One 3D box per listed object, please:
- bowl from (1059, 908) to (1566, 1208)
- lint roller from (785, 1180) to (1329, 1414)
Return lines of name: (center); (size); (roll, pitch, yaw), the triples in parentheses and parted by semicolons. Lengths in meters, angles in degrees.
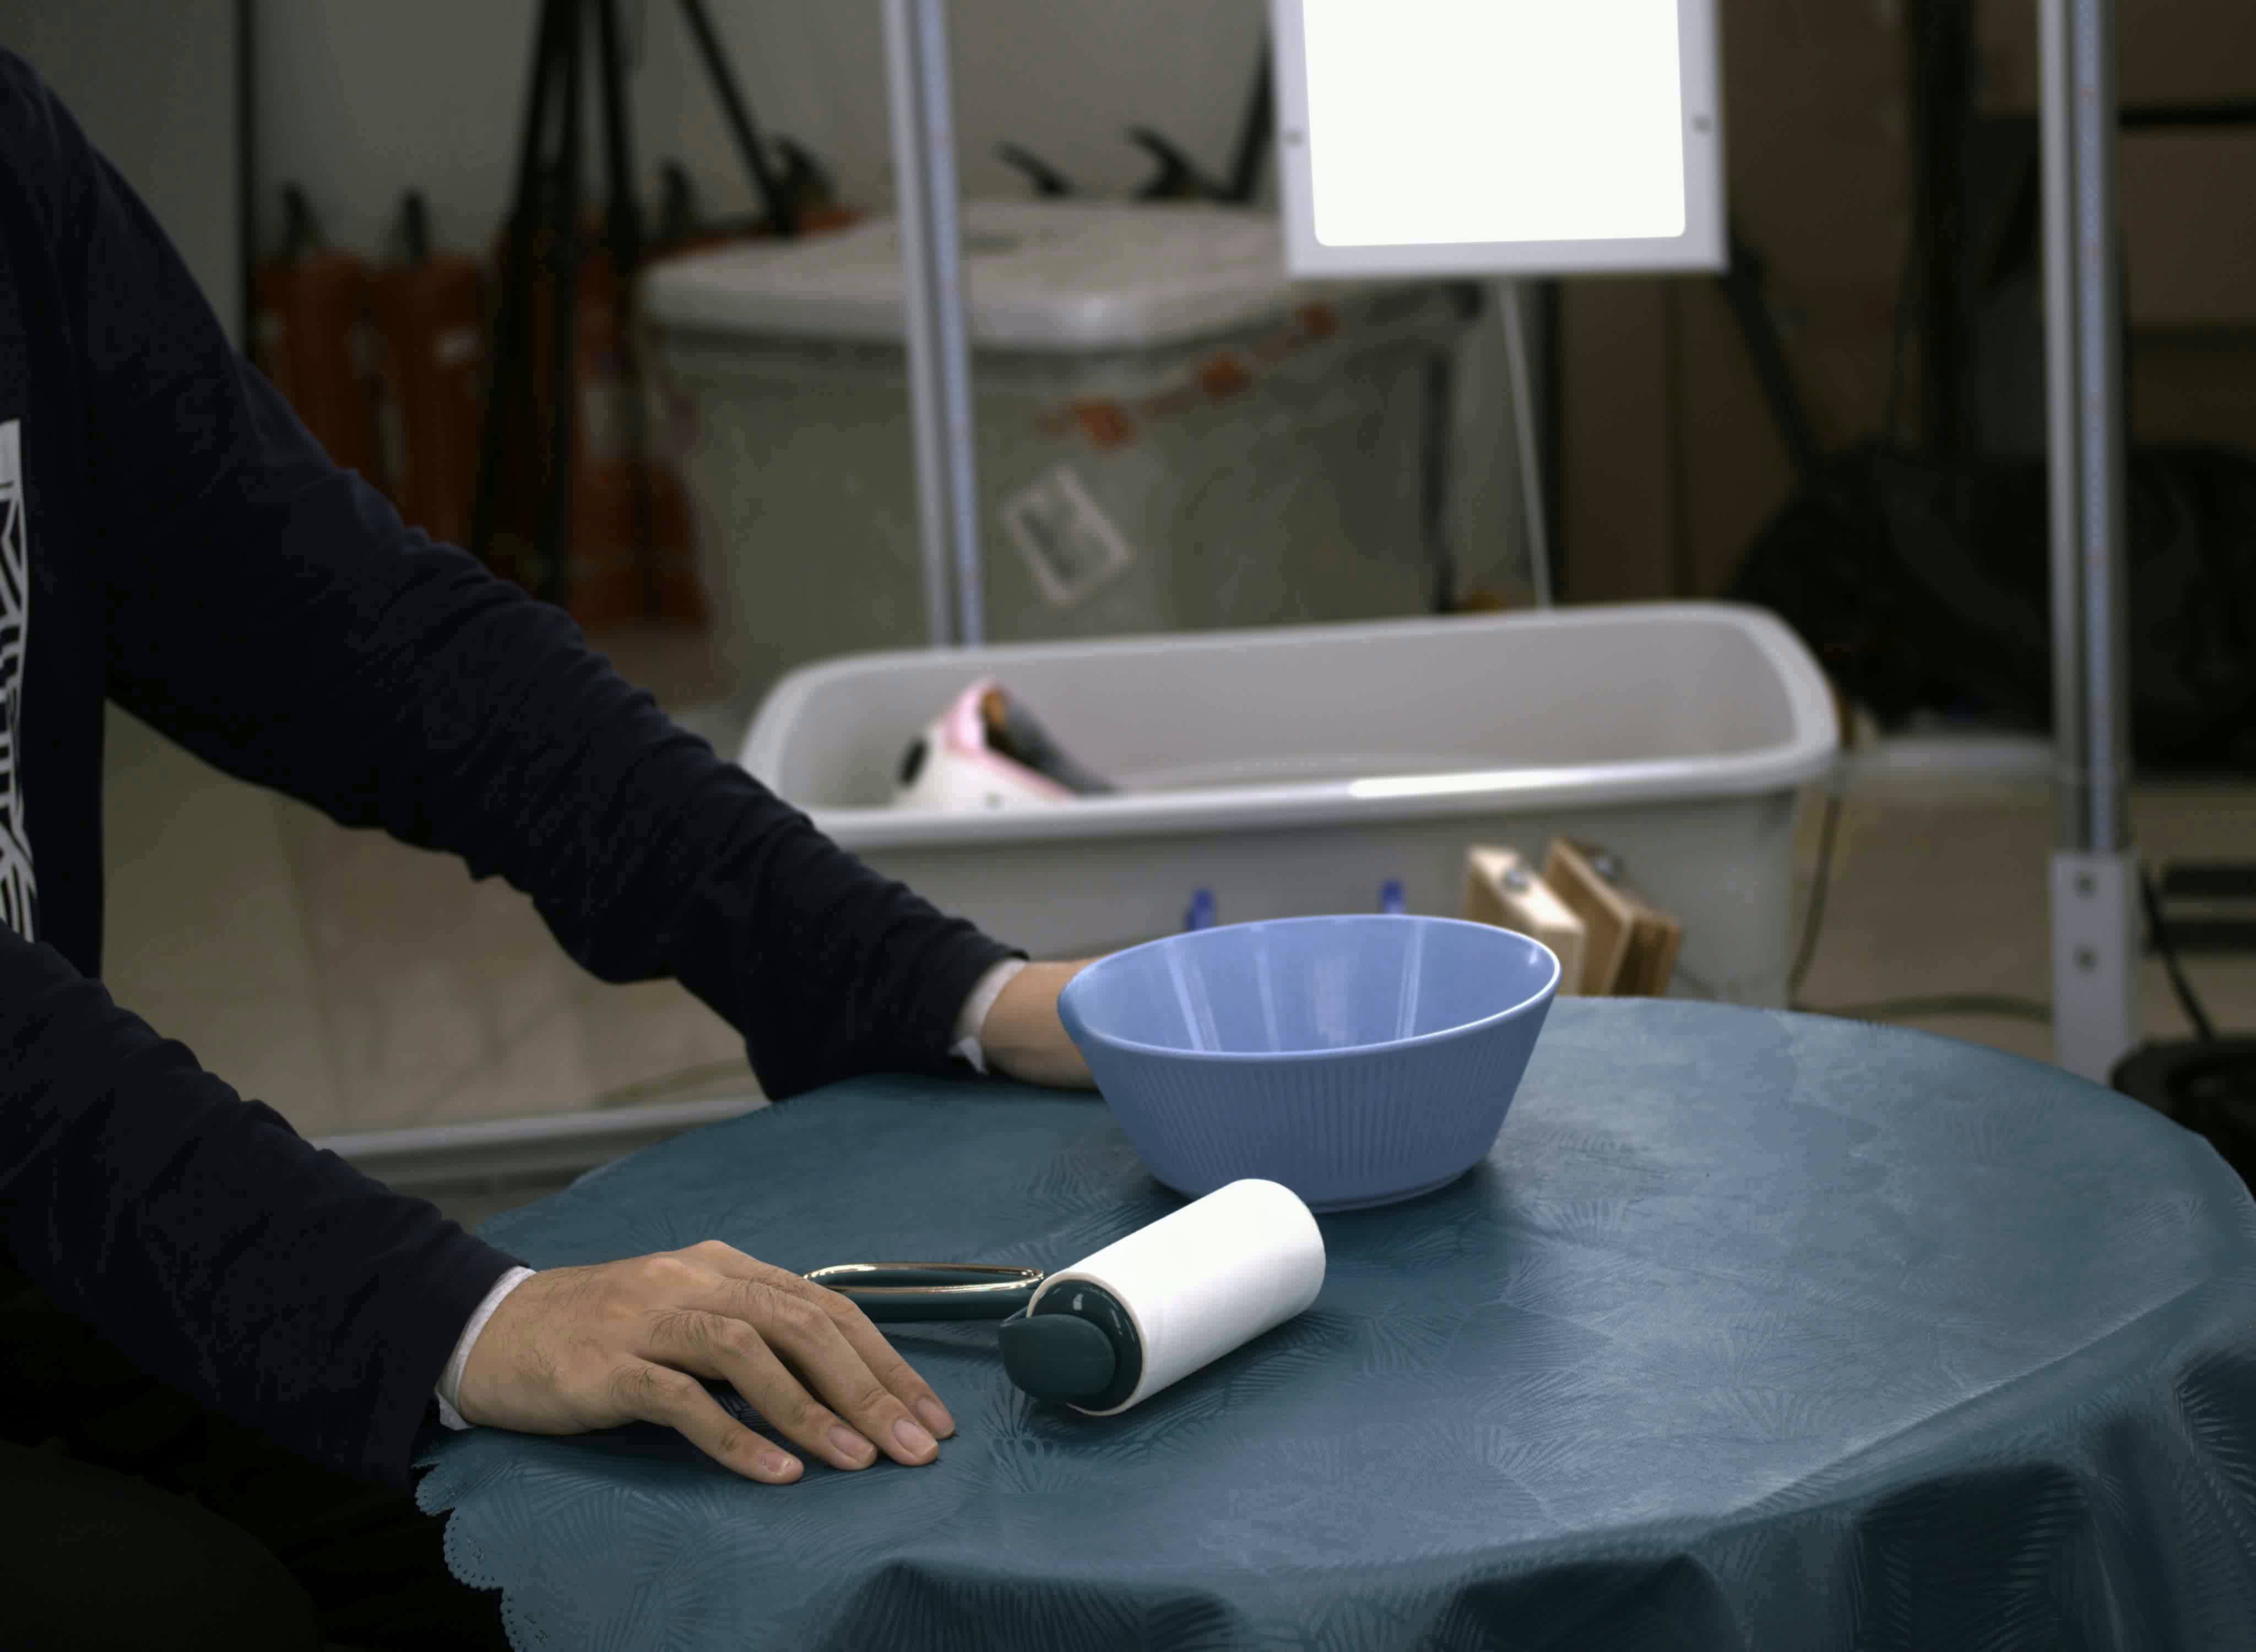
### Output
bowl: (0.066, 0.083, 1.904); (0.175, 0.070, 0.176); (-5, 14, 0)
lint roller: (-0.039, 0.146, 1.757); (0.184, 0.048, 0.131); (0, 14, 37)
